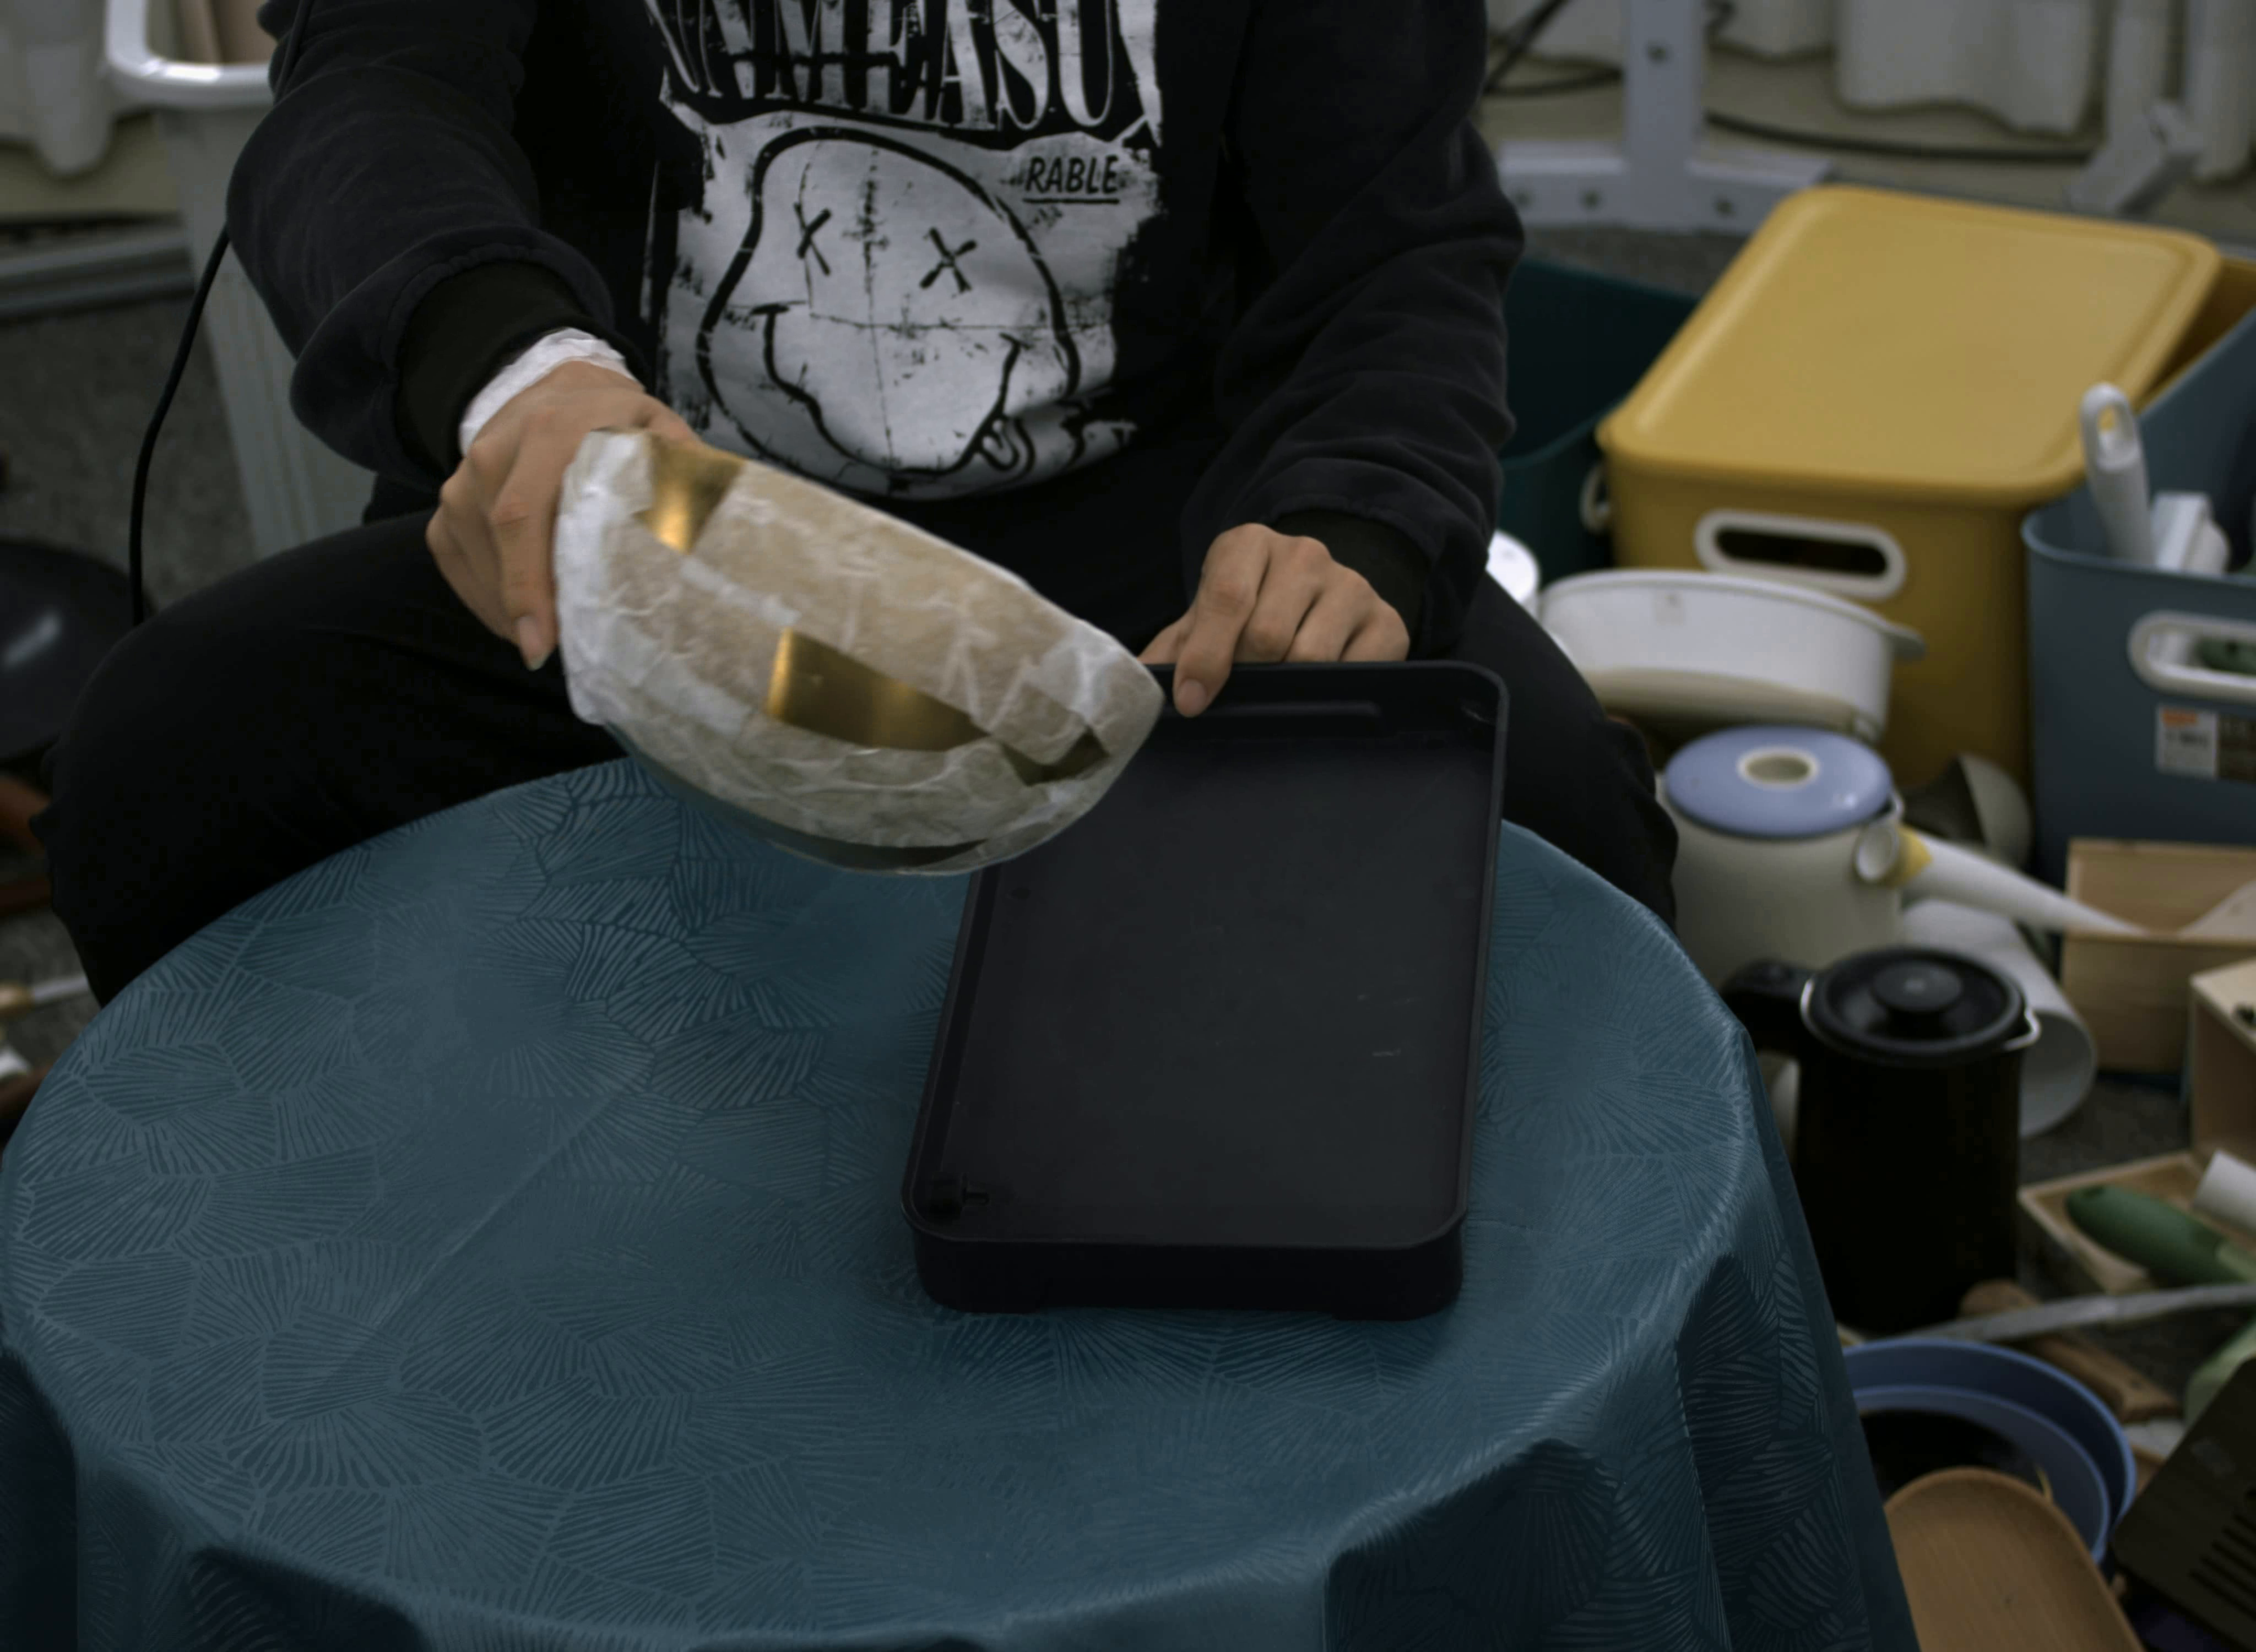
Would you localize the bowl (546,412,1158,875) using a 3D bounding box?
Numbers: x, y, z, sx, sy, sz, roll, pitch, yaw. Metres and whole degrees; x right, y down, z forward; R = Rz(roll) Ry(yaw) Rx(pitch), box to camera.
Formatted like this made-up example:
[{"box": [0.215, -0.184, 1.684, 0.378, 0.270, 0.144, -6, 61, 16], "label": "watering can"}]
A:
[{"box": [-0.099, -0.041, 1.761, 0.214, 0.095, 0.213, 23, -7, 4], "label": "bowl"}]

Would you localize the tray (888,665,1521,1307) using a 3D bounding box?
[{"box": [0.033, 0.048, 1.905, 0.183, 0.036, 0.324, 0, 35, 9], "label": "tray"}]
